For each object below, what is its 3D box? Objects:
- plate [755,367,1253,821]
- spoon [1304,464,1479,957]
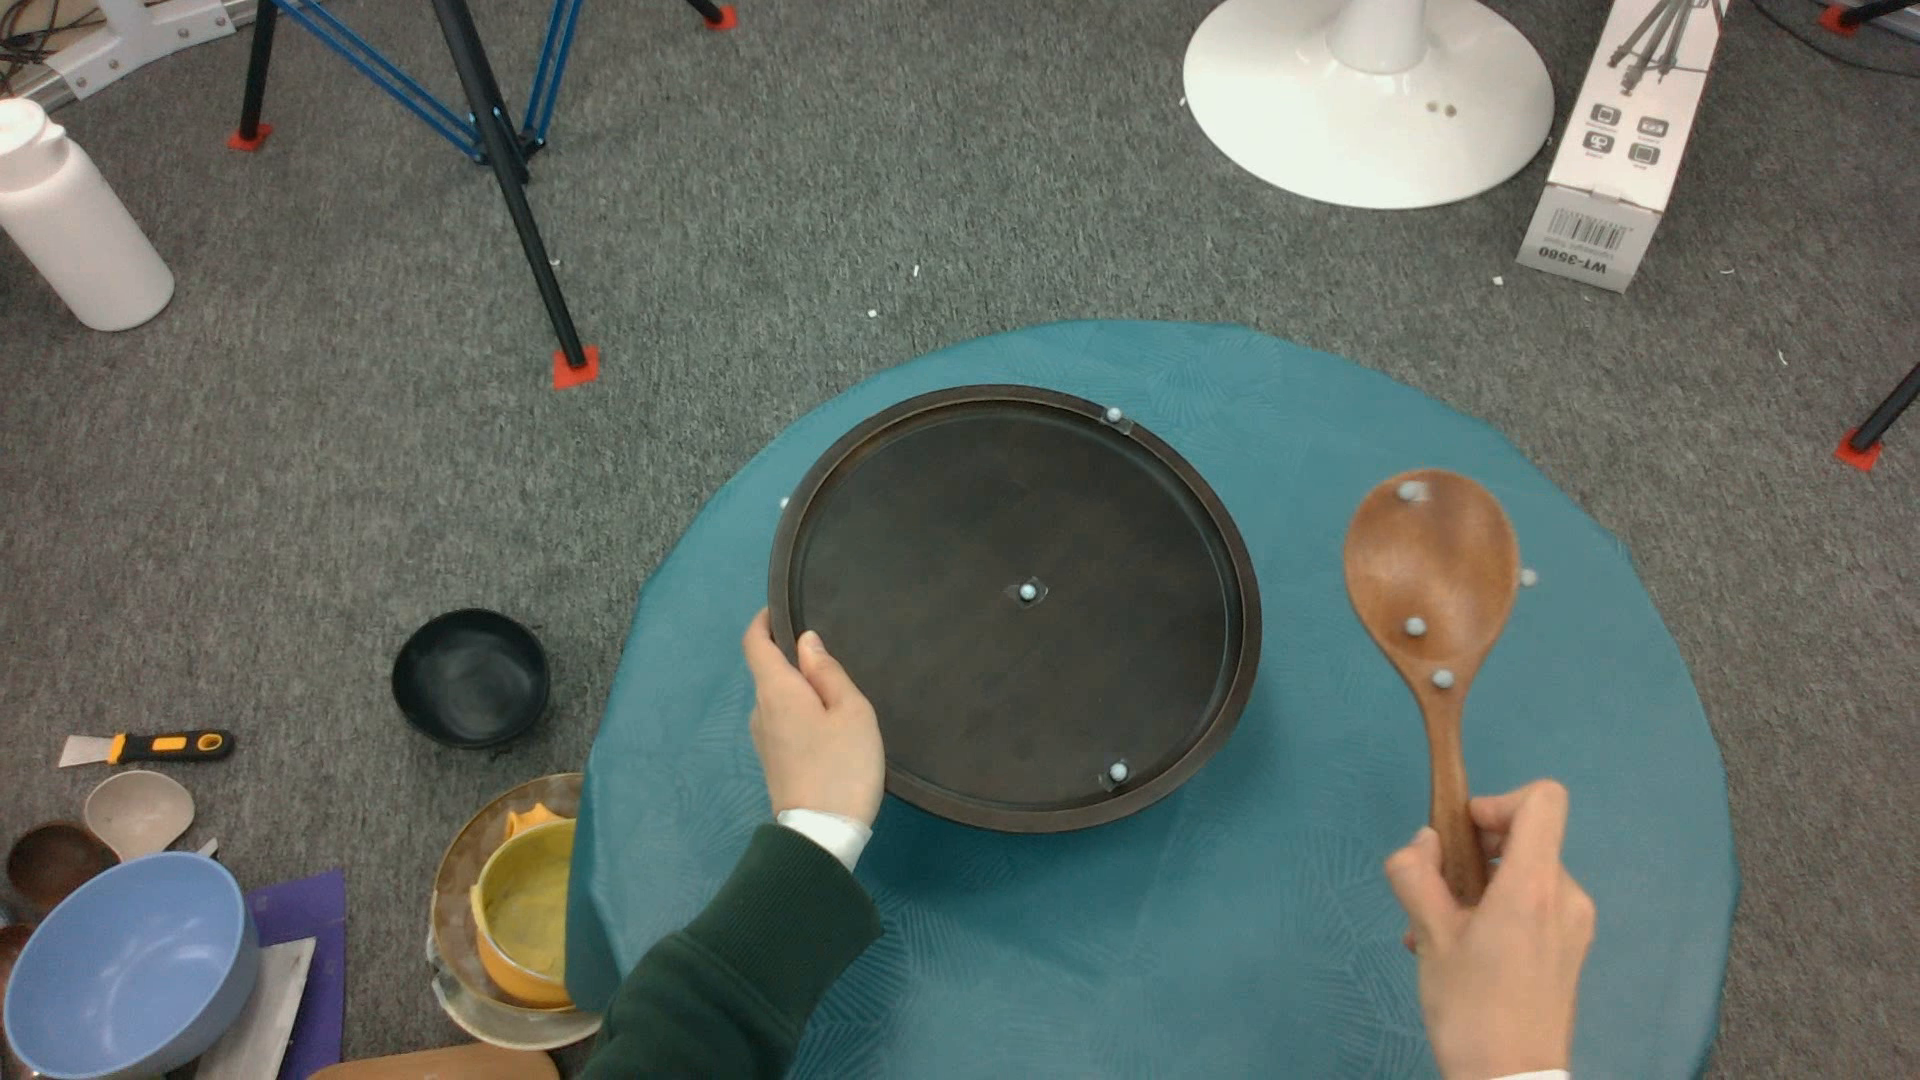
[{"bbox_3d":[0.023,0.021,0.701,0.255,0.029,0.256,4,60,-6],"label":"plate"},{"bbox_3d":[0.195,0.068,0.598,0.075,0.017,0.216,-4,69,9],"label":"spoon"}]
